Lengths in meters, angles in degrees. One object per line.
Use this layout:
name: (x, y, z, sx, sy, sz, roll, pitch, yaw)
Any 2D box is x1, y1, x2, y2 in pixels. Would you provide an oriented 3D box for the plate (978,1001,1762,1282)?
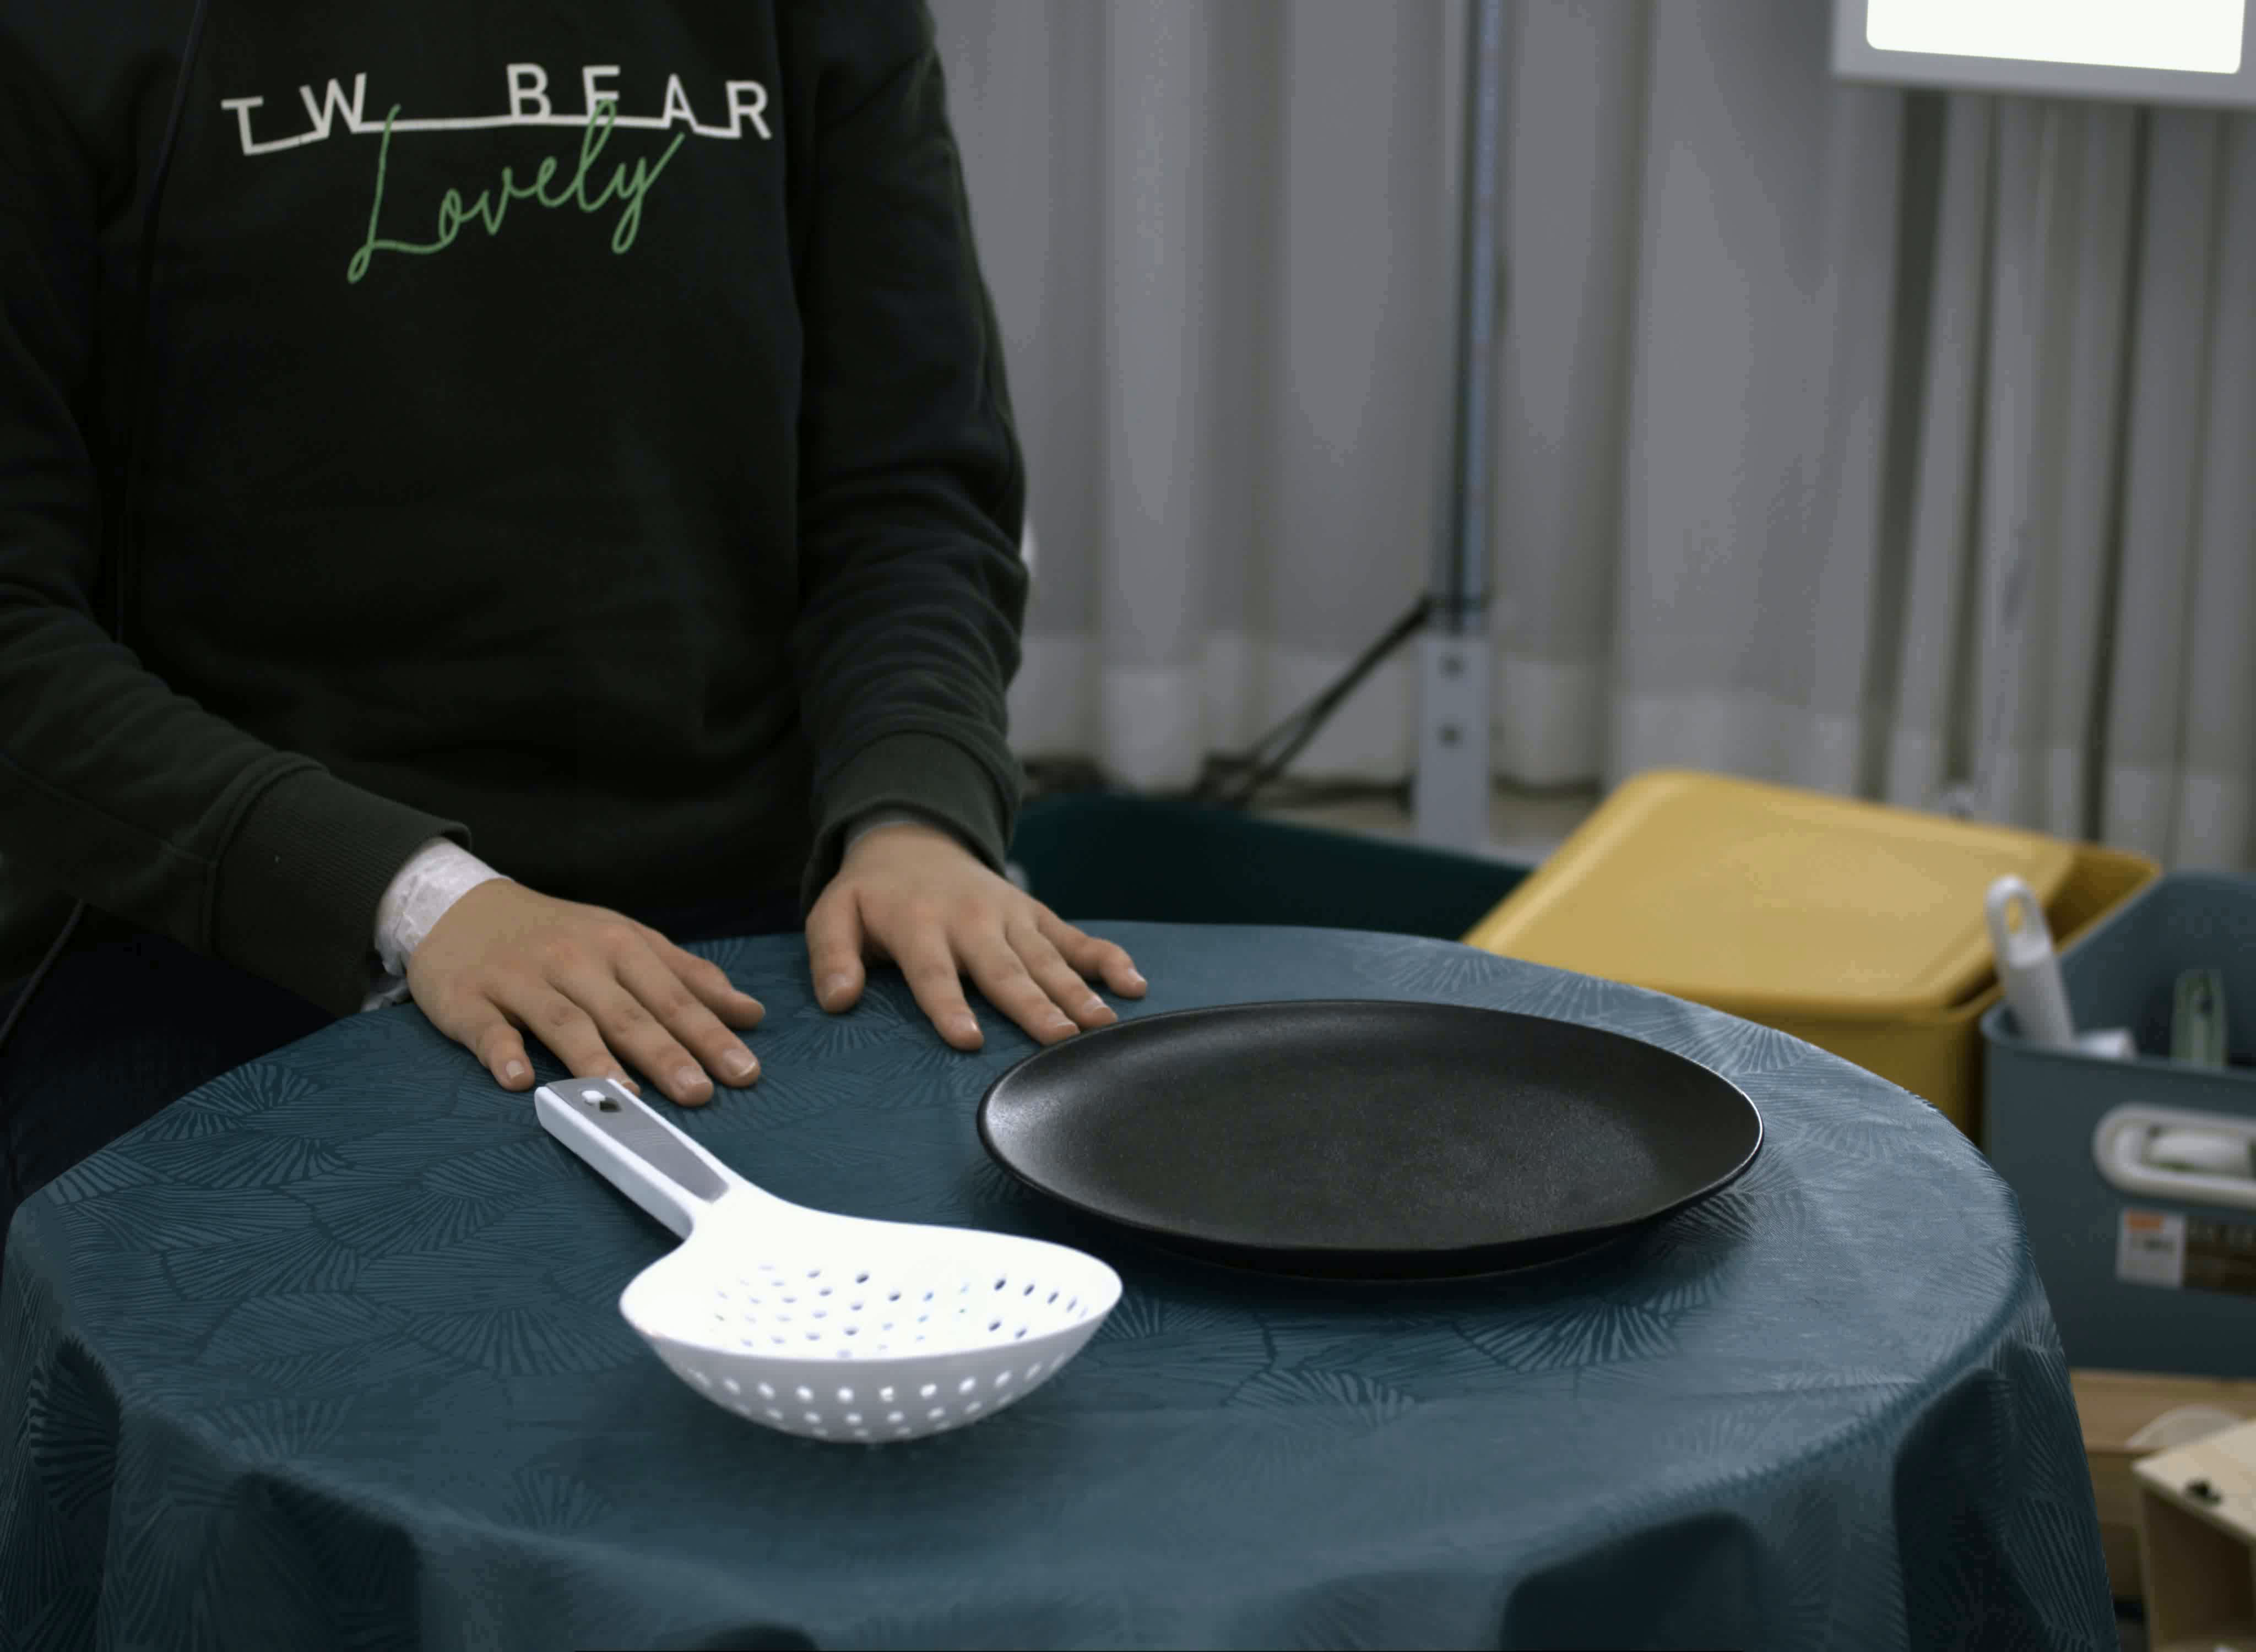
plate: (0.074, 0.100, 1.632, 0.243, 0.023, 0.243, 1, 16, 0)

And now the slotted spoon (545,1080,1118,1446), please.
slotted spoon: (-0.111, 0.117, 1.524, 0.136, 0.046, 0.346, -4, 15, -22)
